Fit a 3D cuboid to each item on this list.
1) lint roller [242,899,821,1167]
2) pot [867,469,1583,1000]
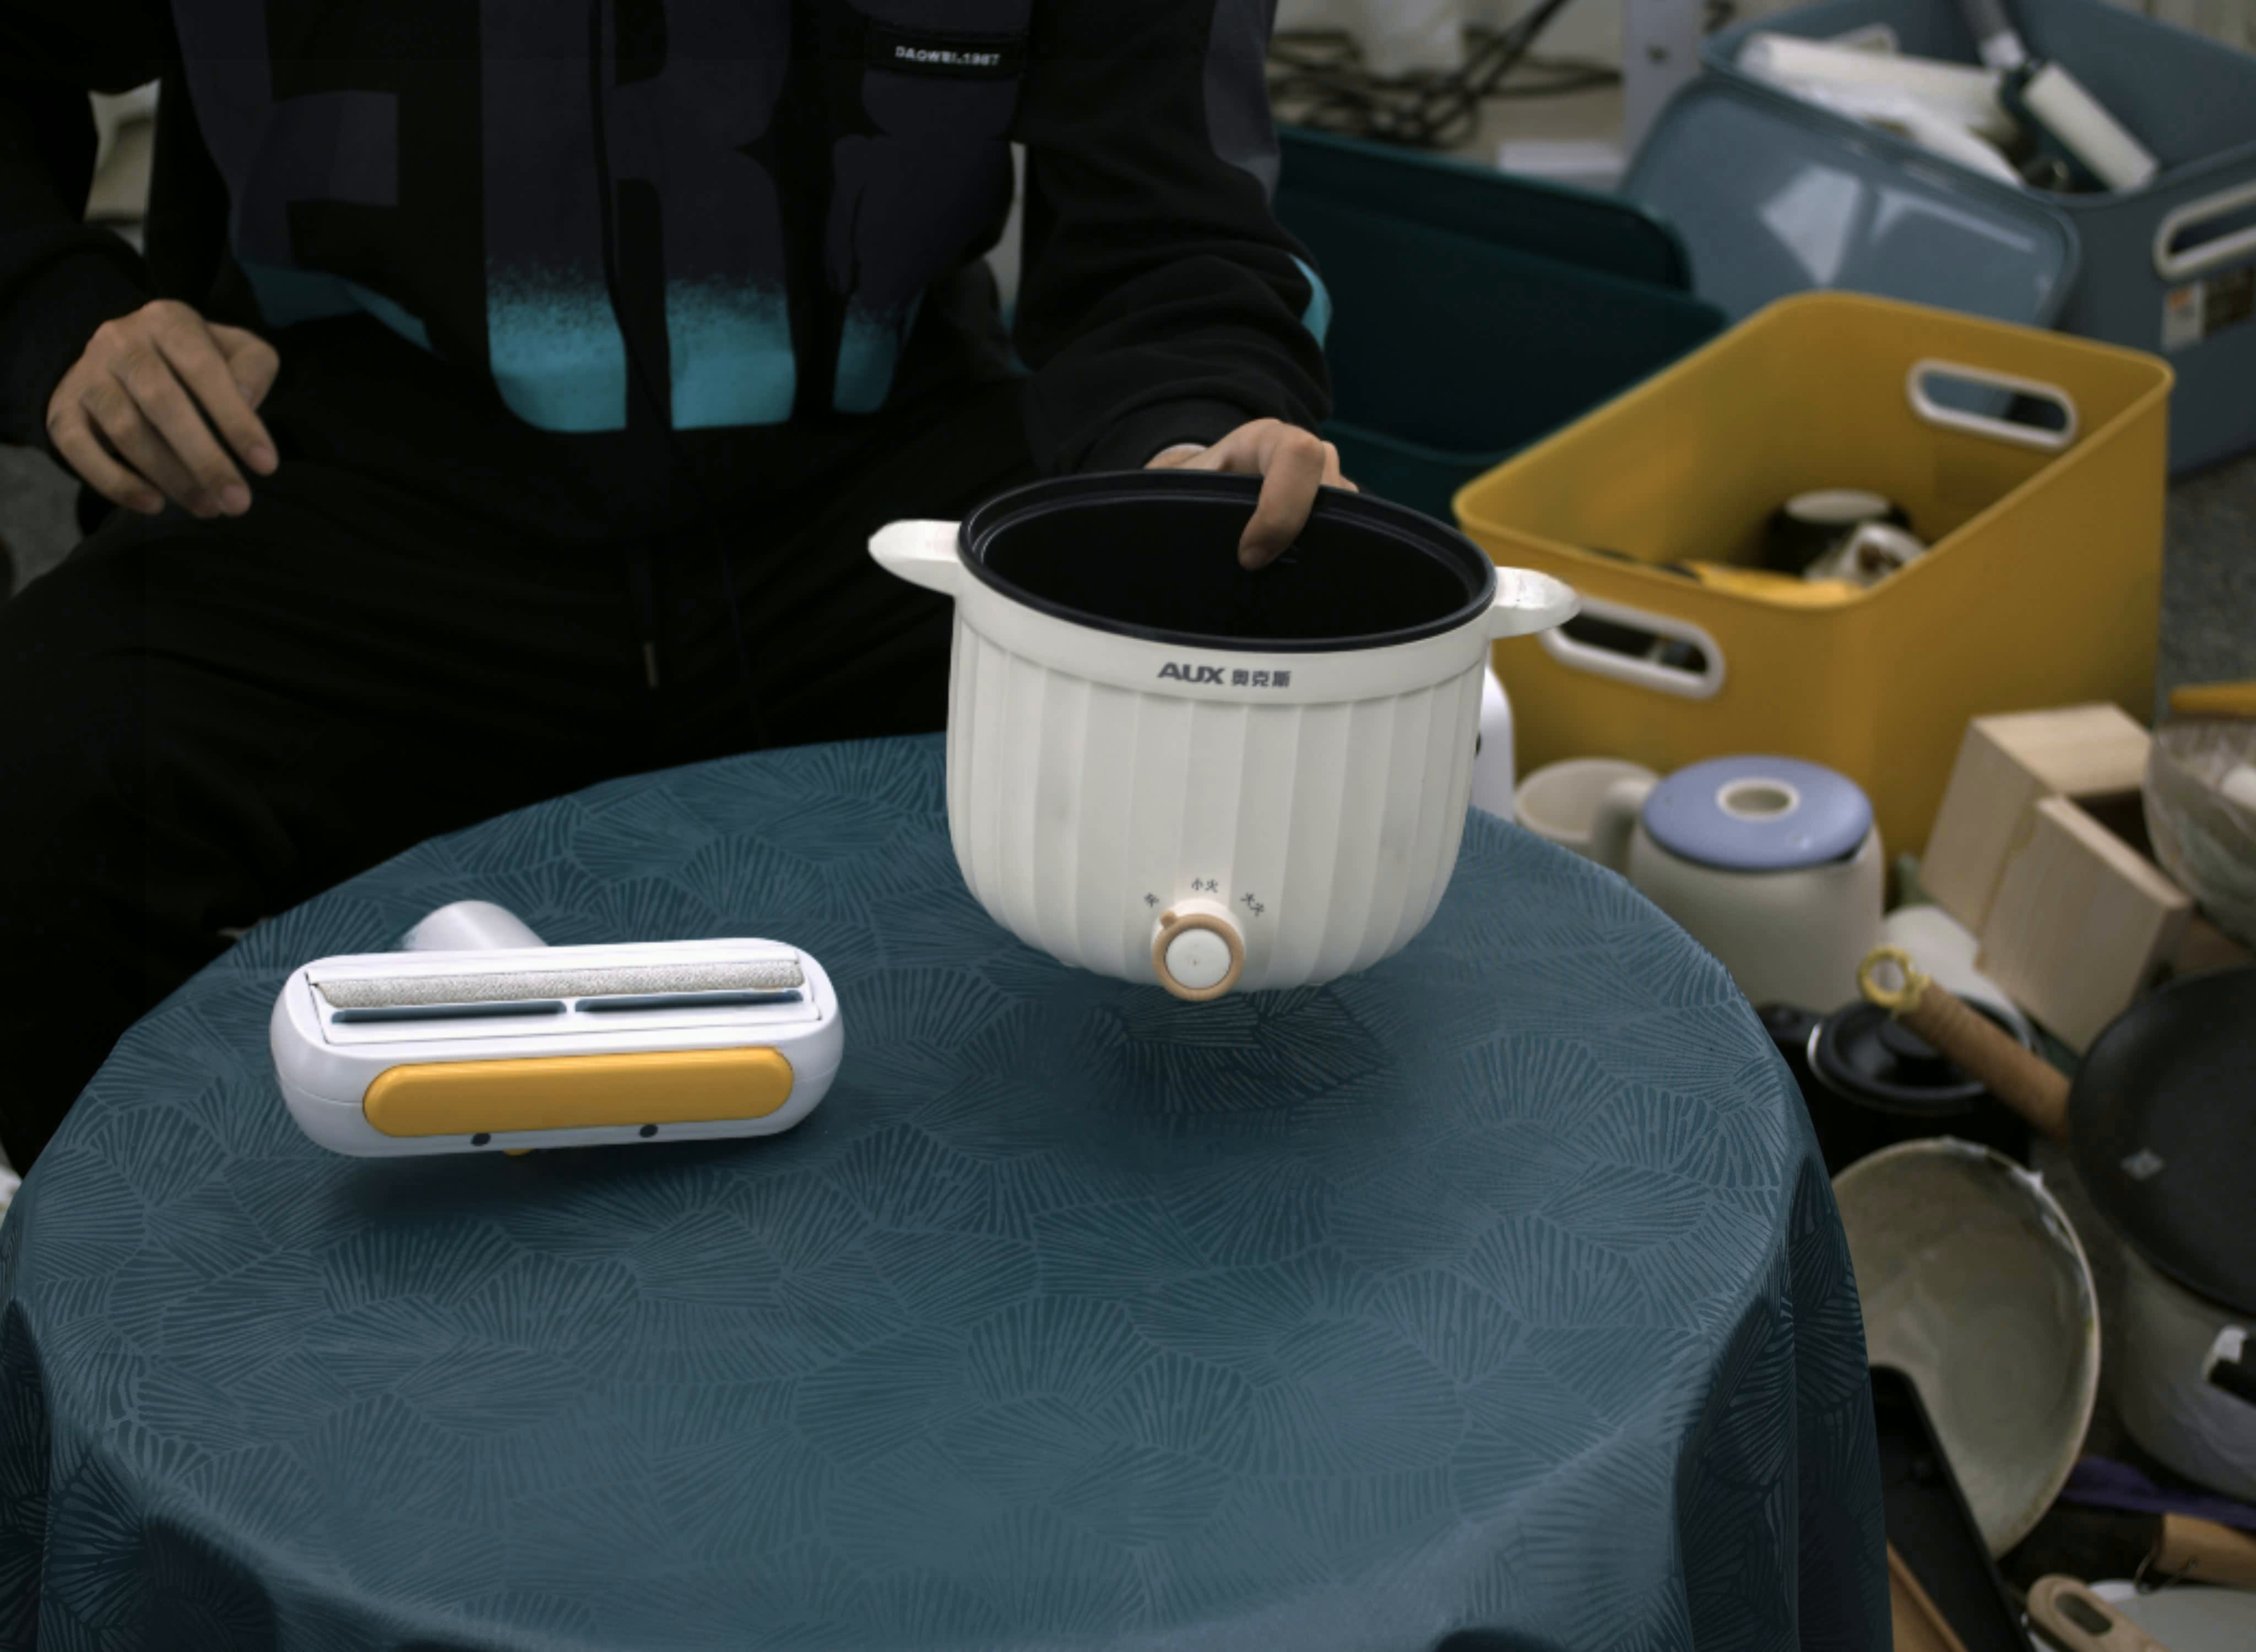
[{"bbox_3d":[-0.213,0.057,1.932,0.193,0.073,0.194,-4,25,-15],"label":"lint roller"},{"bbox_3d":[0.029,-0.028,1.889,0.239,0.142,0.192,3,17,-1],"label":"pot"}]
